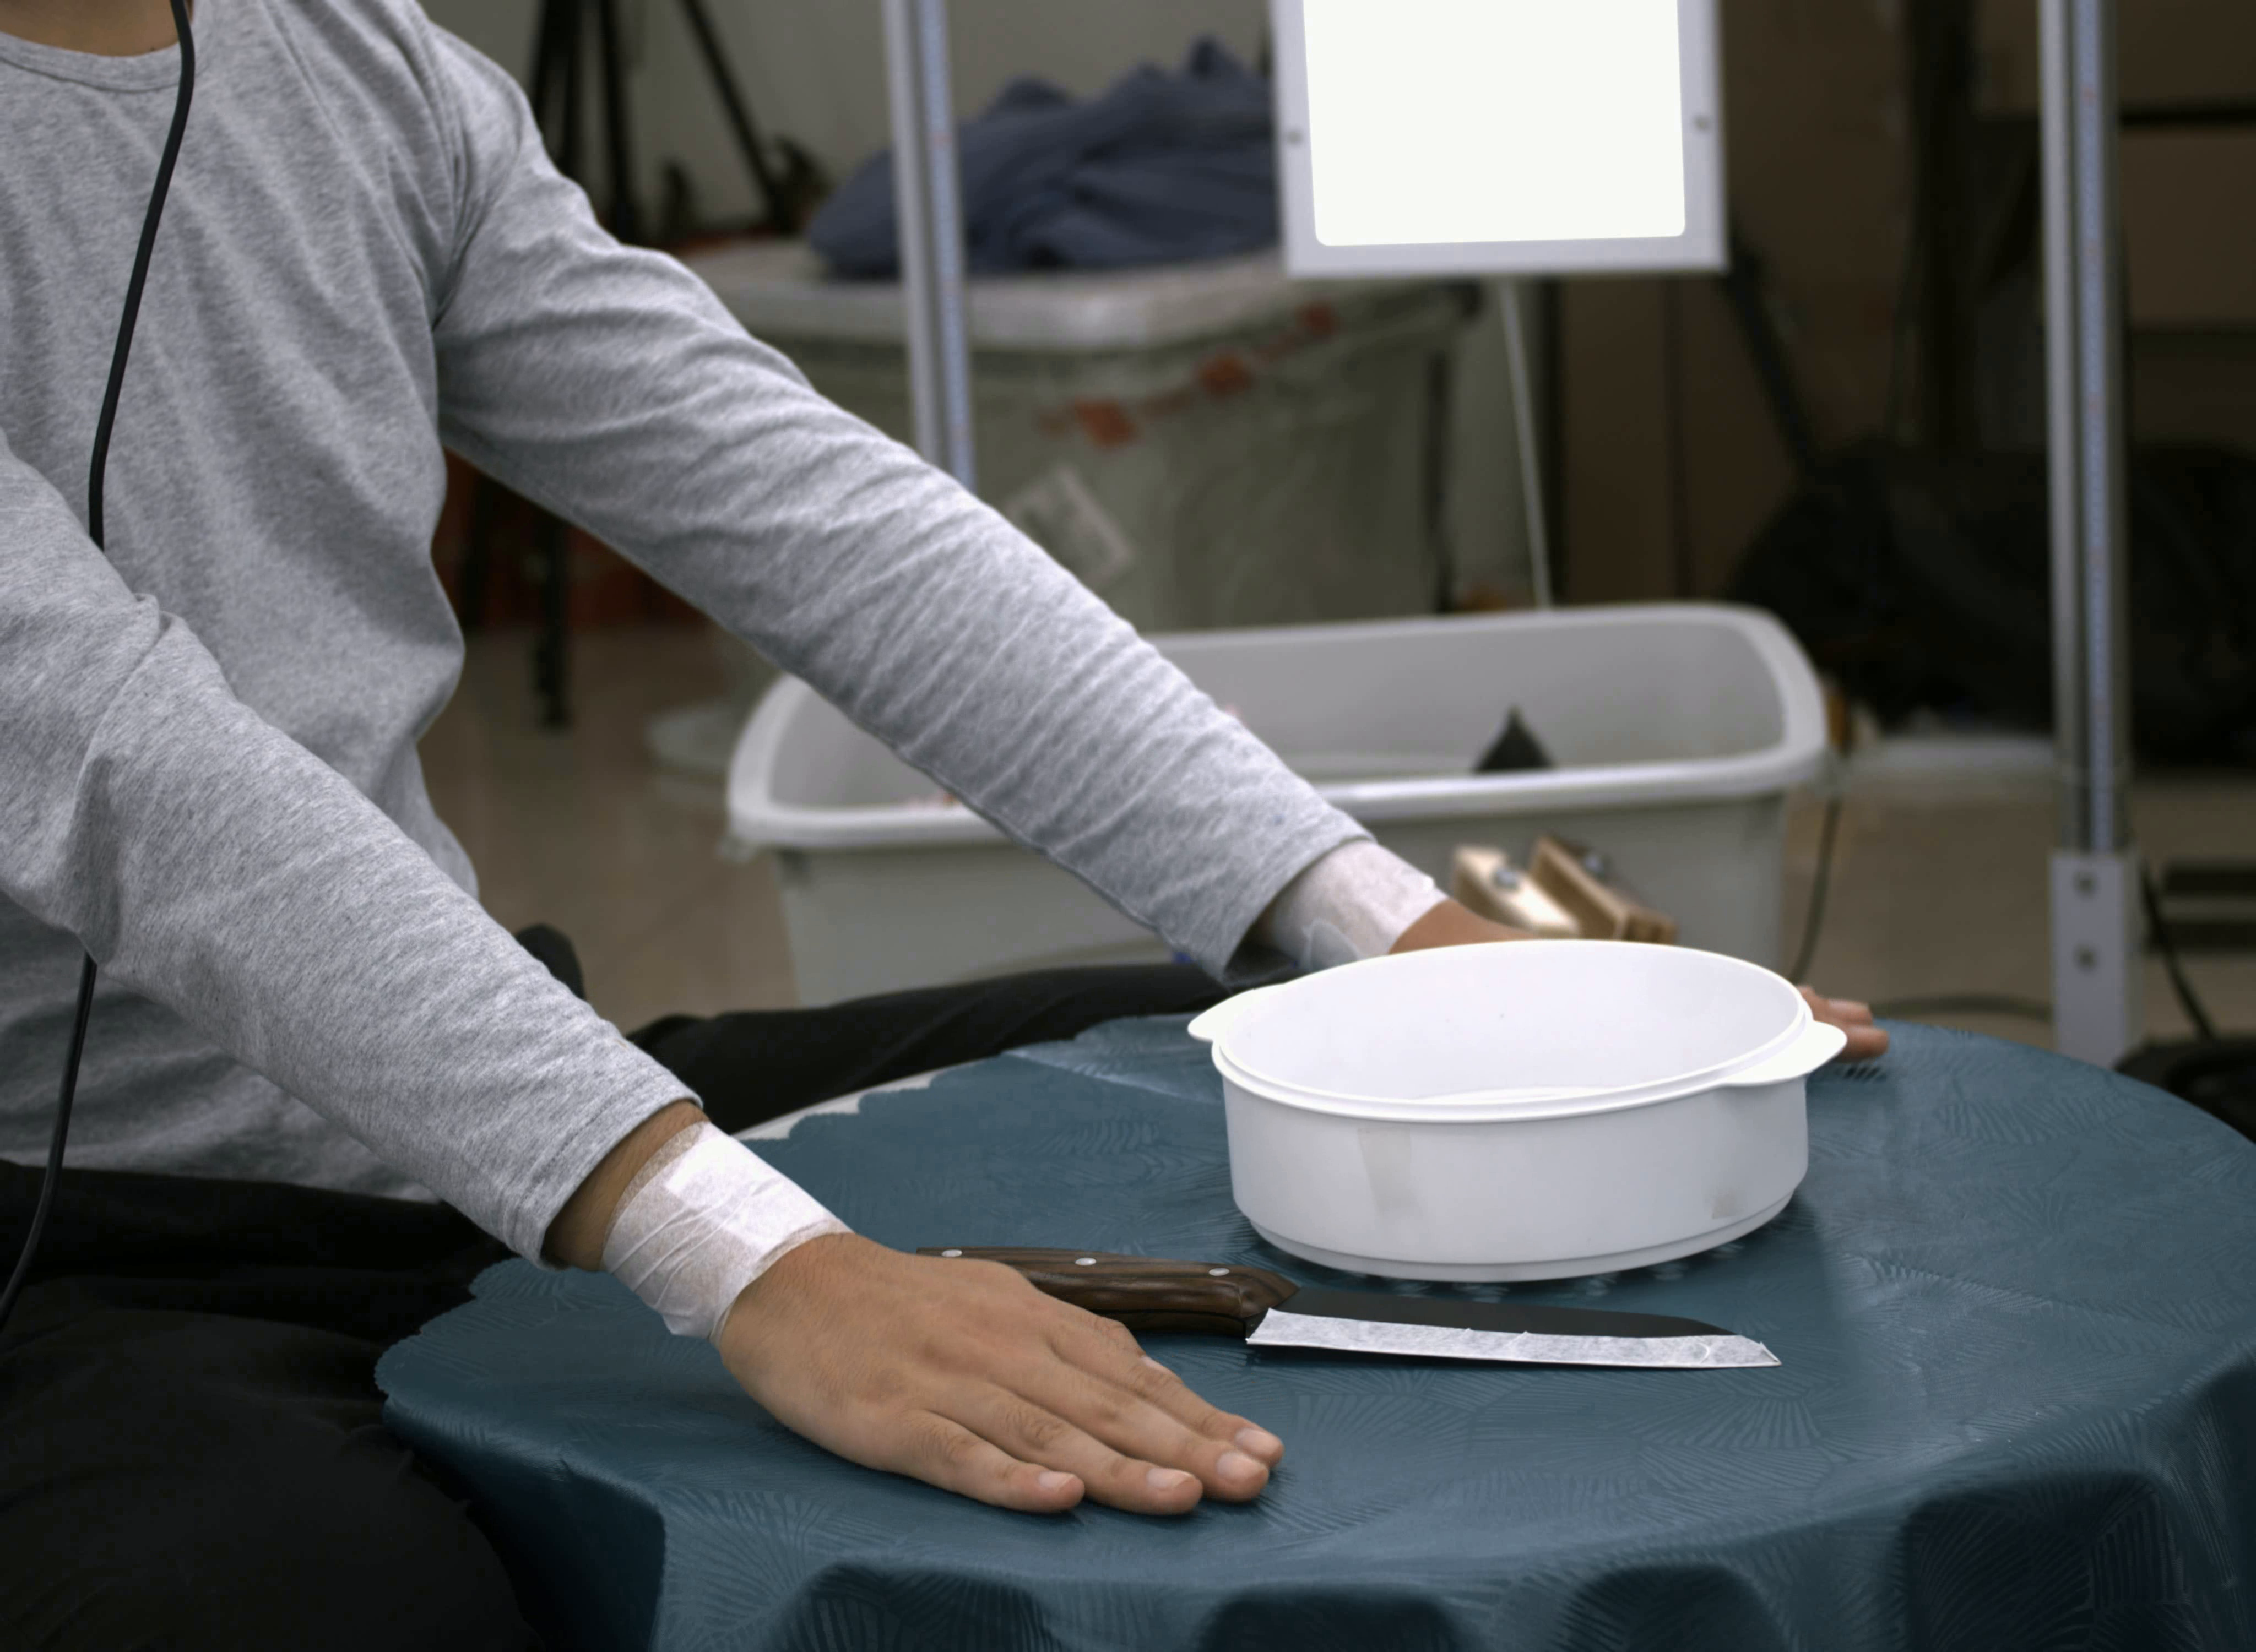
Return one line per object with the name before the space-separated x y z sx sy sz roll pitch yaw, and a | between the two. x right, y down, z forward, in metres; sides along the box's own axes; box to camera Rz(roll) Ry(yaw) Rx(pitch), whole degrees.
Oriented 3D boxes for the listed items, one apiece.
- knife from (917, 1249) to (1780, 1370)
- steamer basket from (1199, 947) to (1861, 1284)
knife | 0.065 0.155 1.732 0.293 0.020 0.049 3 20 22
steamer basket | 0.134 0.096 1.837 0.235 0.069 0.197 3 15 32
